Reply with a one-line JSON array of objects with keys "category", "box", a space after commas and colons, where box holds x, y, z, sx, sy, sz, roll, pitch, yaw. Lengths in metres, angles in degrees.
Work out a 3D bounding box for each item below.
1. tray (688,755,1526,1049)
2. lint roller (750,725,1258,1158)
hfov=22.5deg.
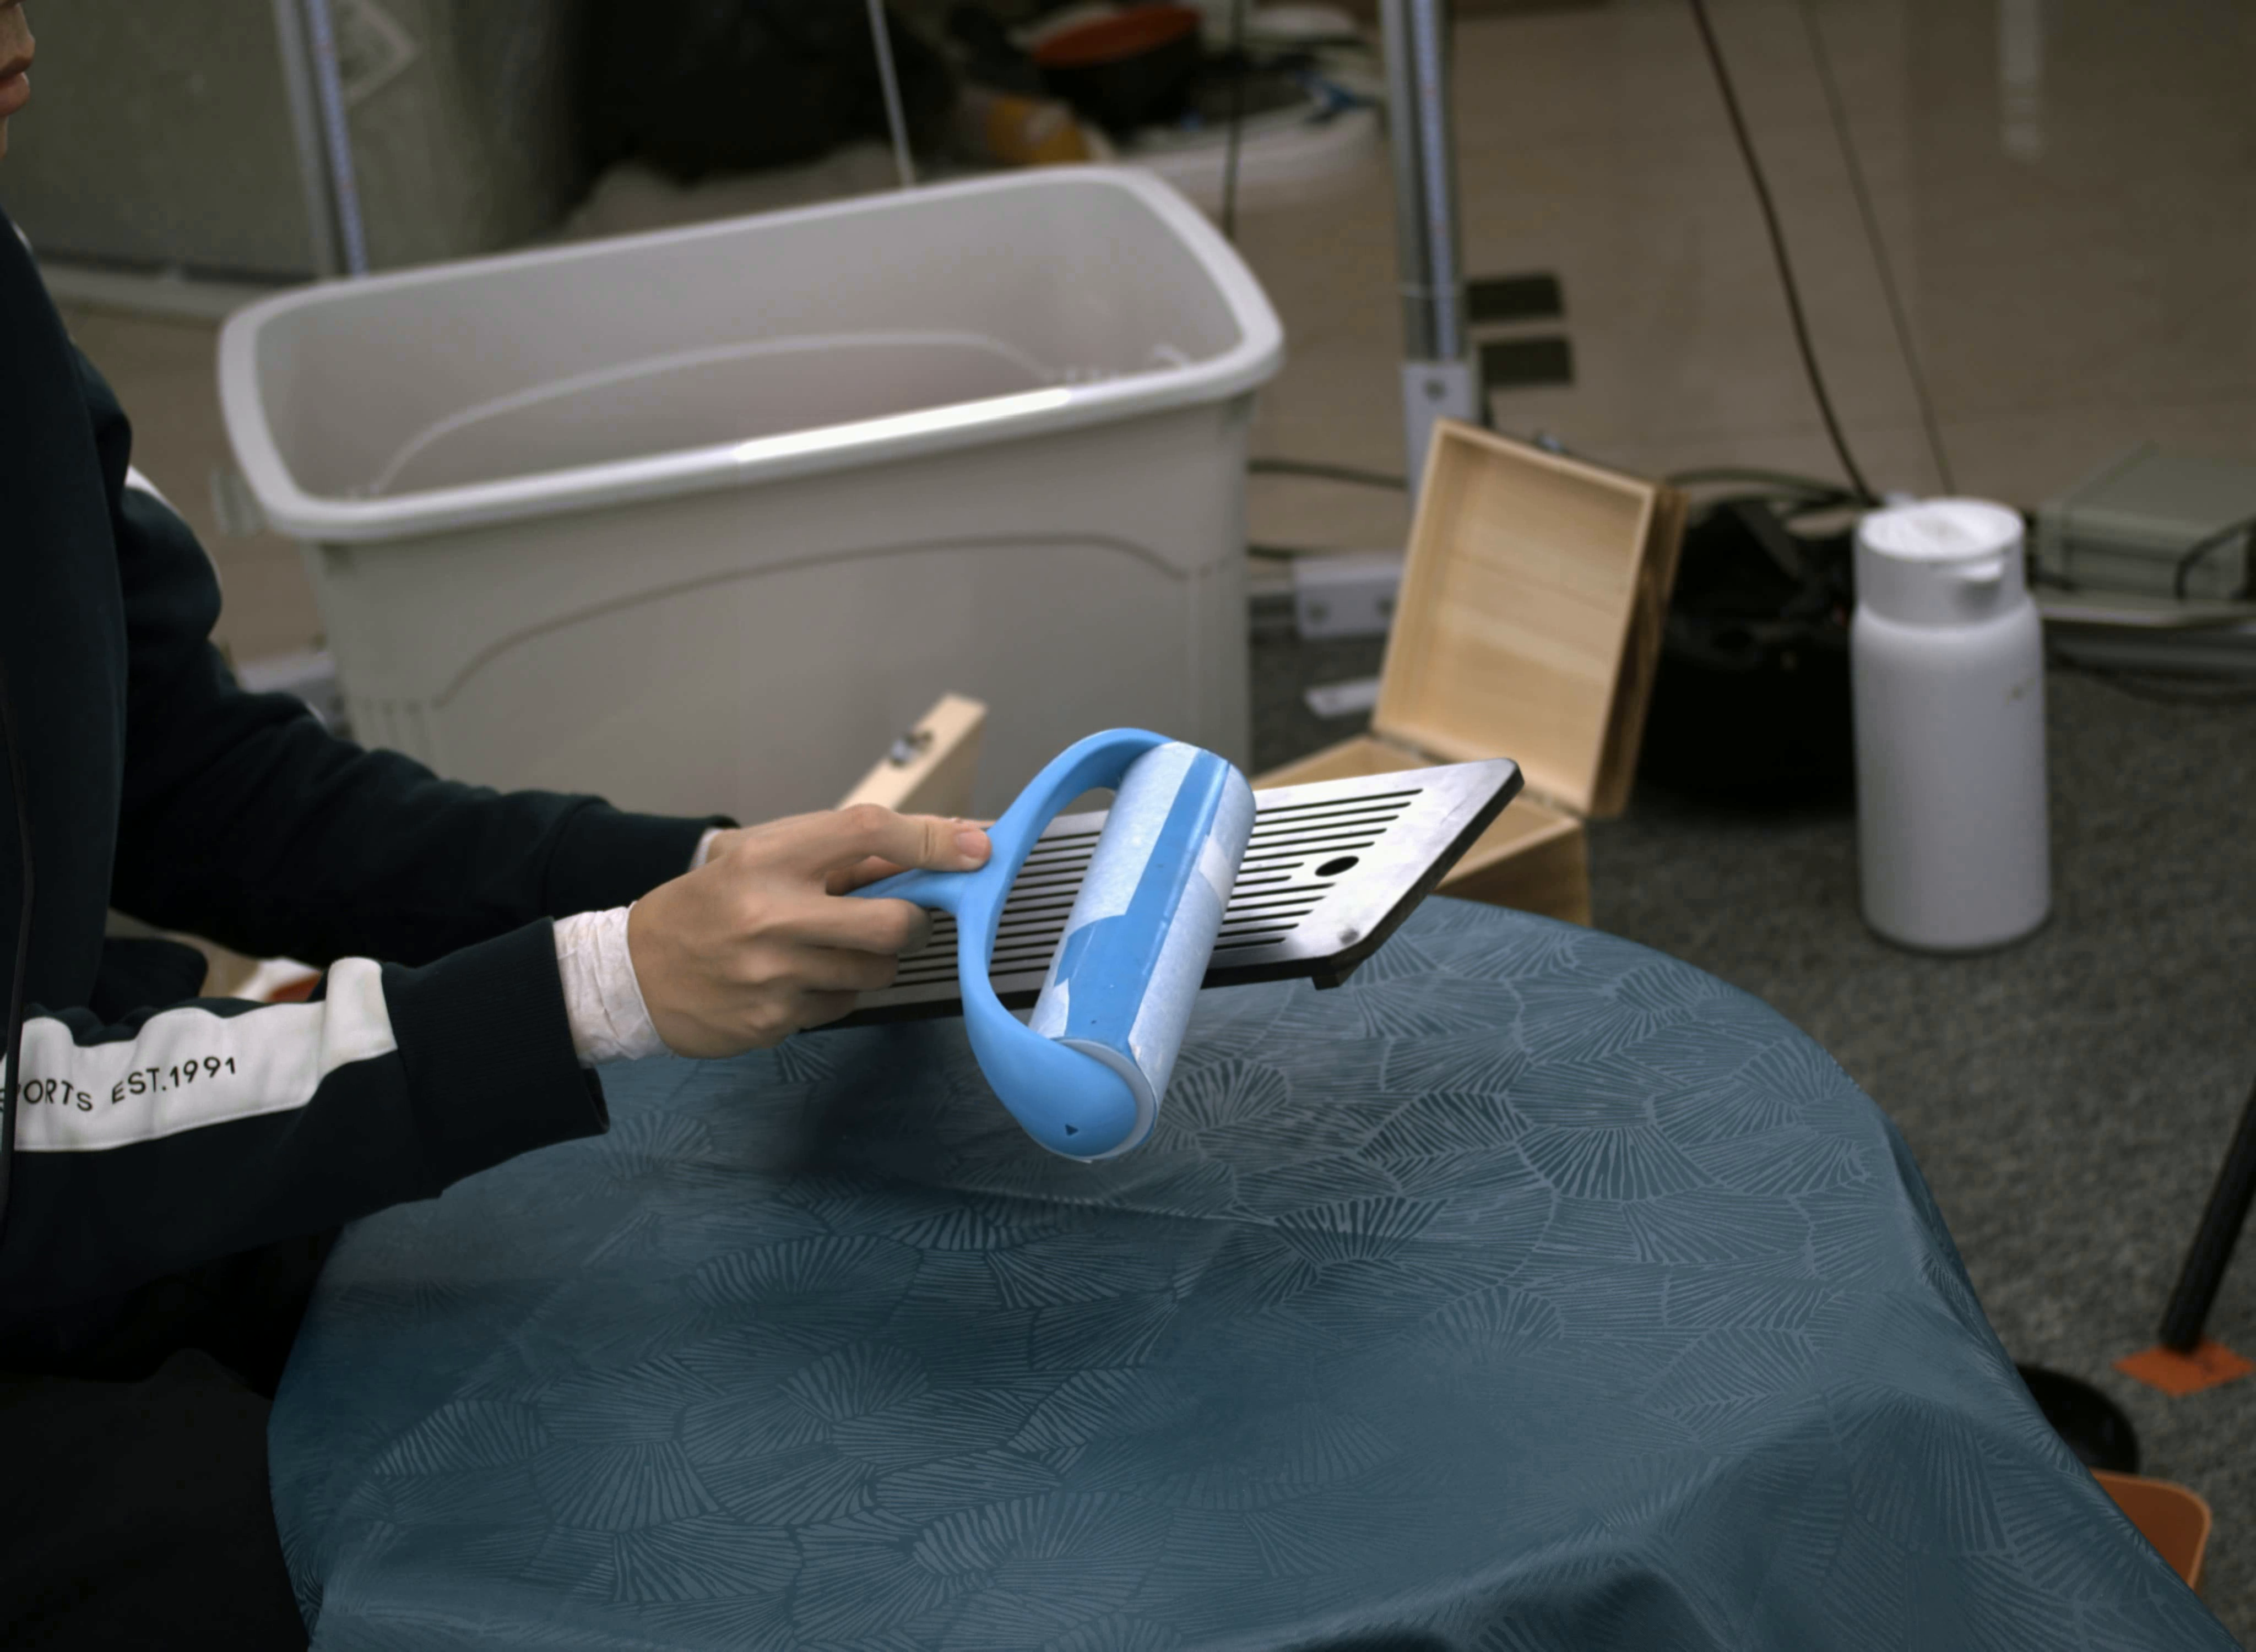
[{"category": "tray", "box": [-0.008, 0.031, 2.177, 0.306, 0.019, 0.168, -8, 22, 32]}, {"category": "lint roller", "box": [-0.054, 0.042, 2.049, 0.180, 0.069, 0.225, -1, 35, 11]}]
